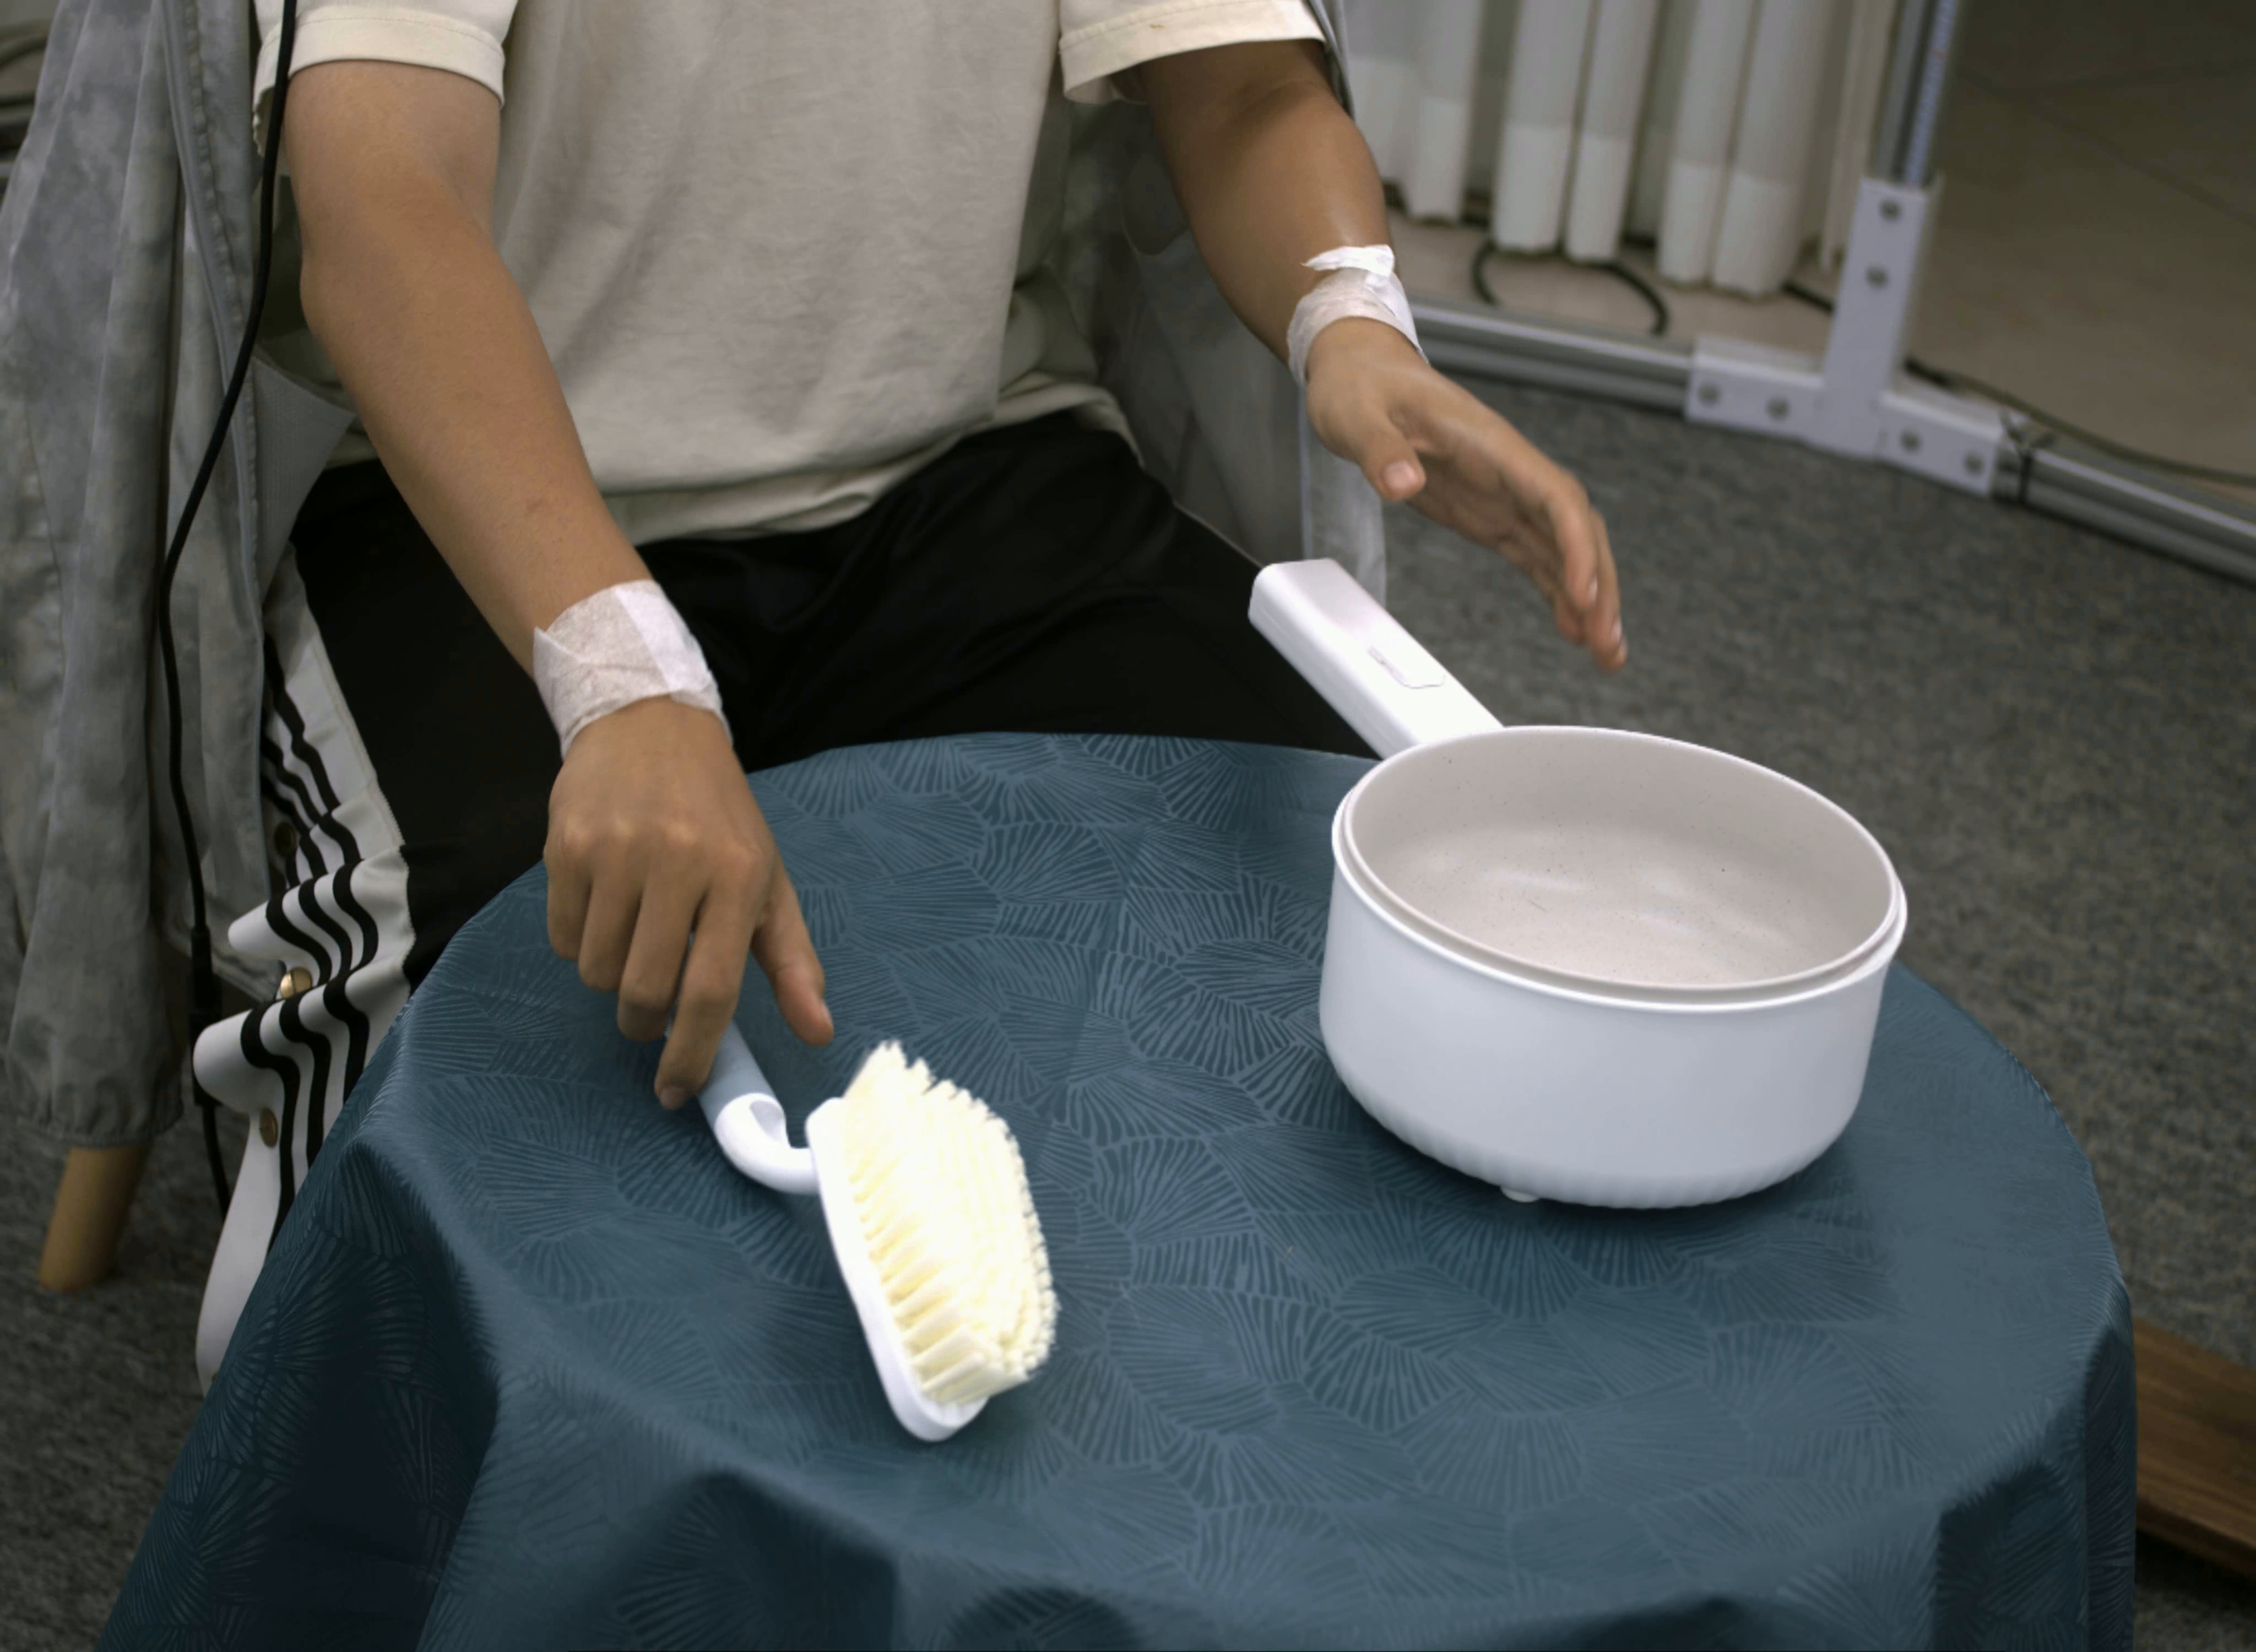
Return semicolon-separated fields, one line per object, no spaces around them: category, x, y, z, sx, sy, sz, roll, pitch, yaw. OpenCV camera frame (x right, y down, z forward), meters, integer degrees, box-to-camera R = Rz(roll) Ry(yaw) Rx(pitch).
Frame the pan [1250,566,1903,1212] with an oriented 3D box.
pan;0.133;0.021;1.931;0.200;0.102;0.358;-7;29;-24

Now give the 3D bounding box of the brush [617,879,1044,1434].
brush;-0.098;0.081;1.770;0.084;0.082;0.328;-17;34;-12
